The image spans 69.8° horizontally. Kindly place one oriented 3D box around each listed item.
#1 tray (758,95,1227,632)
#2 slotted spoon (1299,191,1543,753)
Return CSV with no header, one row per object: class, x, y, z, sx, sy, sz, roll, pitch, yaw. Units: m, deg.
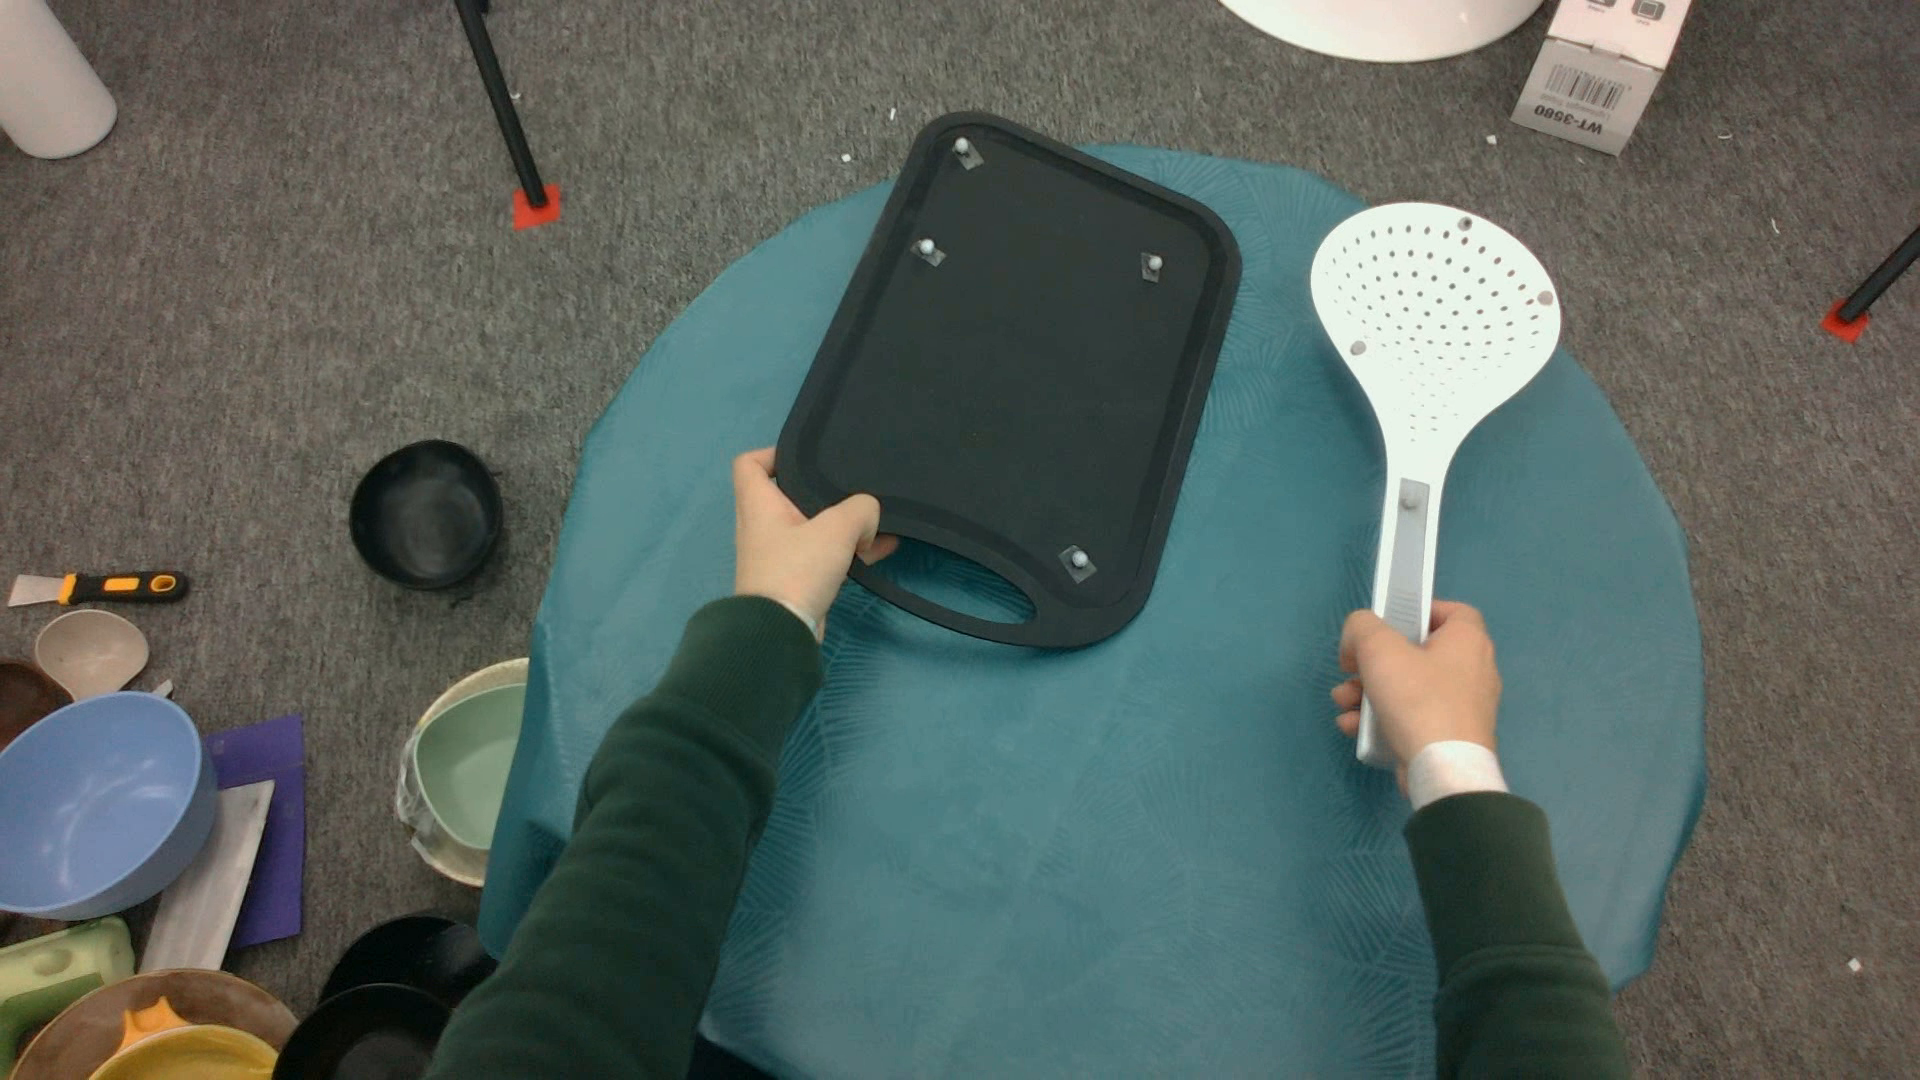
tray,0.026,-0.104,0.754,0.211,0.010,0.327,22,62,-4
slotted spoon,0.230,-0.050,0.719,0.136,0.045,0.351,13,55,5
